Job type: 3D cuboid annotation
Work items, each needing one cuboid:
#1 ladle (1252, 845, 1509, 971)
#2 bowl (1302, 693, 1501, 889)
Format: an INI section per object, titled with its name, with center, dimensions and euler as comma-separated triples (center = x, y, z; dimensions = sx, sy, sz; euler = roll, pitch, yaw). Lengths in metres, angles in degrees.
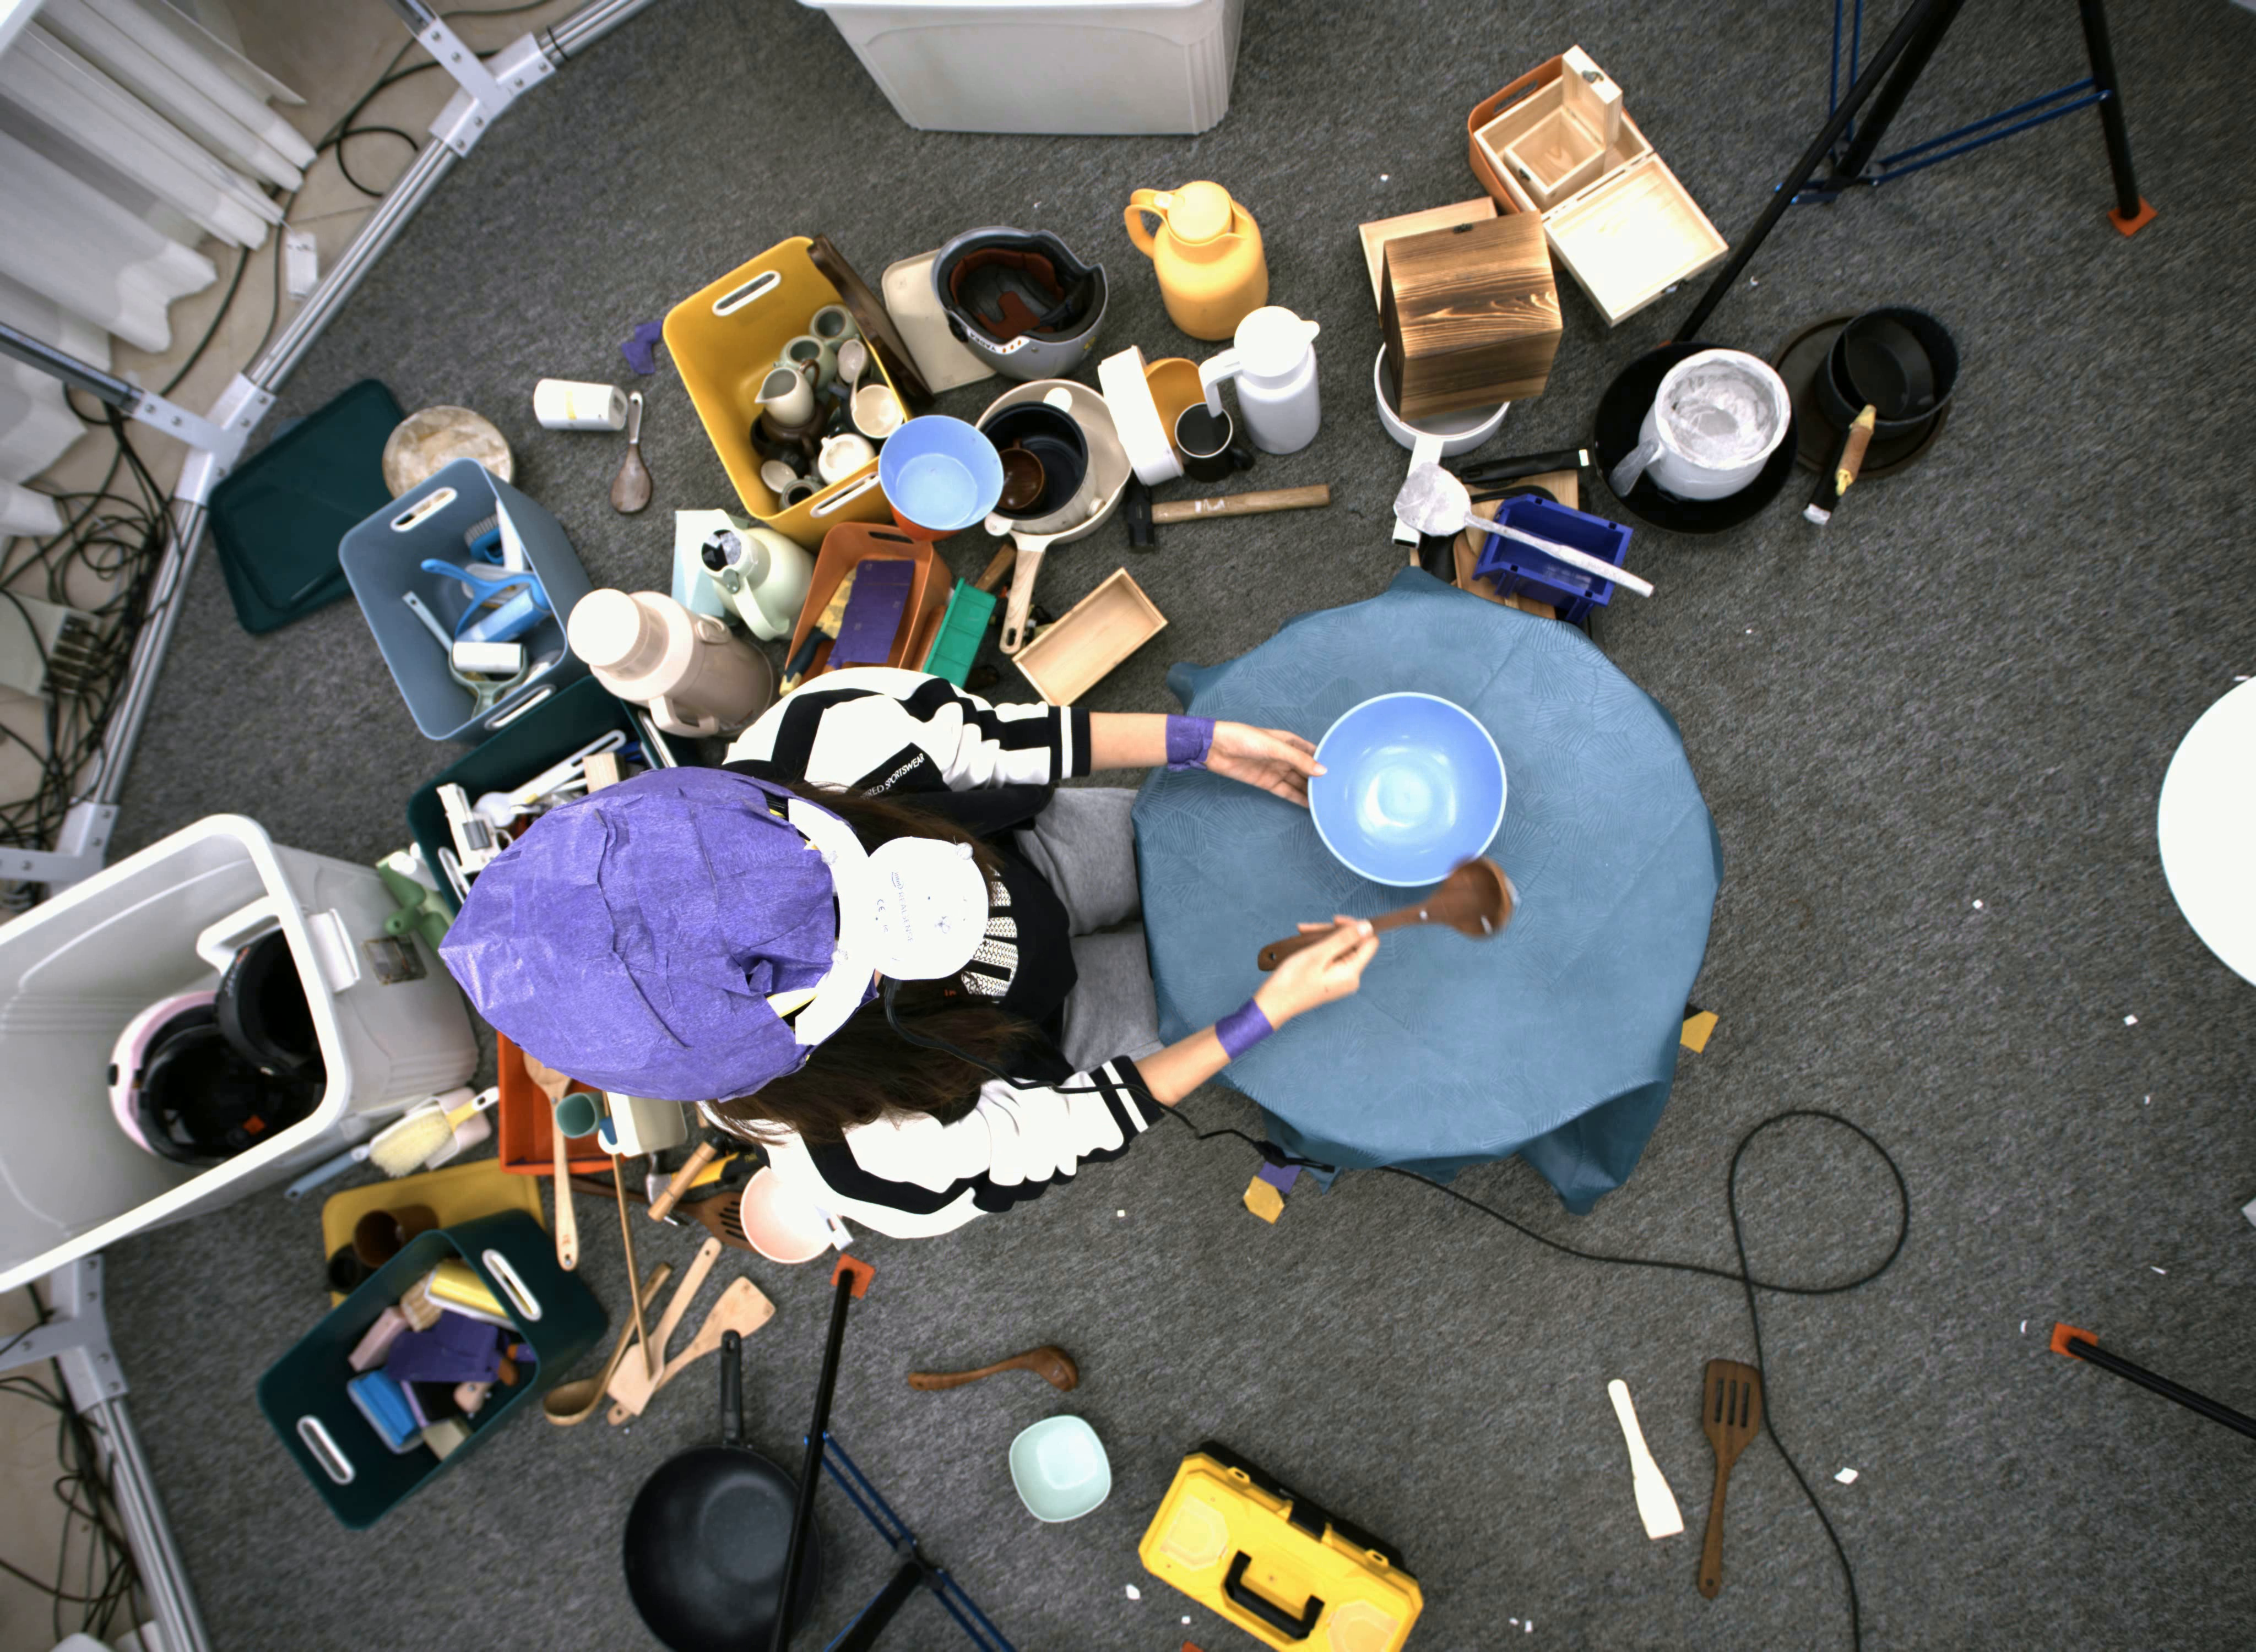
[ladle]
center = 0.230, 0.085, 1.298
dimensions = 0.263, 0.065, 0.075
euler = -19, 68, 18
[bowl]
center = 0.277, -0.035, 1.417
dimensions = 0.197, 0.095, 0.196
euler = 0, 91, 6
